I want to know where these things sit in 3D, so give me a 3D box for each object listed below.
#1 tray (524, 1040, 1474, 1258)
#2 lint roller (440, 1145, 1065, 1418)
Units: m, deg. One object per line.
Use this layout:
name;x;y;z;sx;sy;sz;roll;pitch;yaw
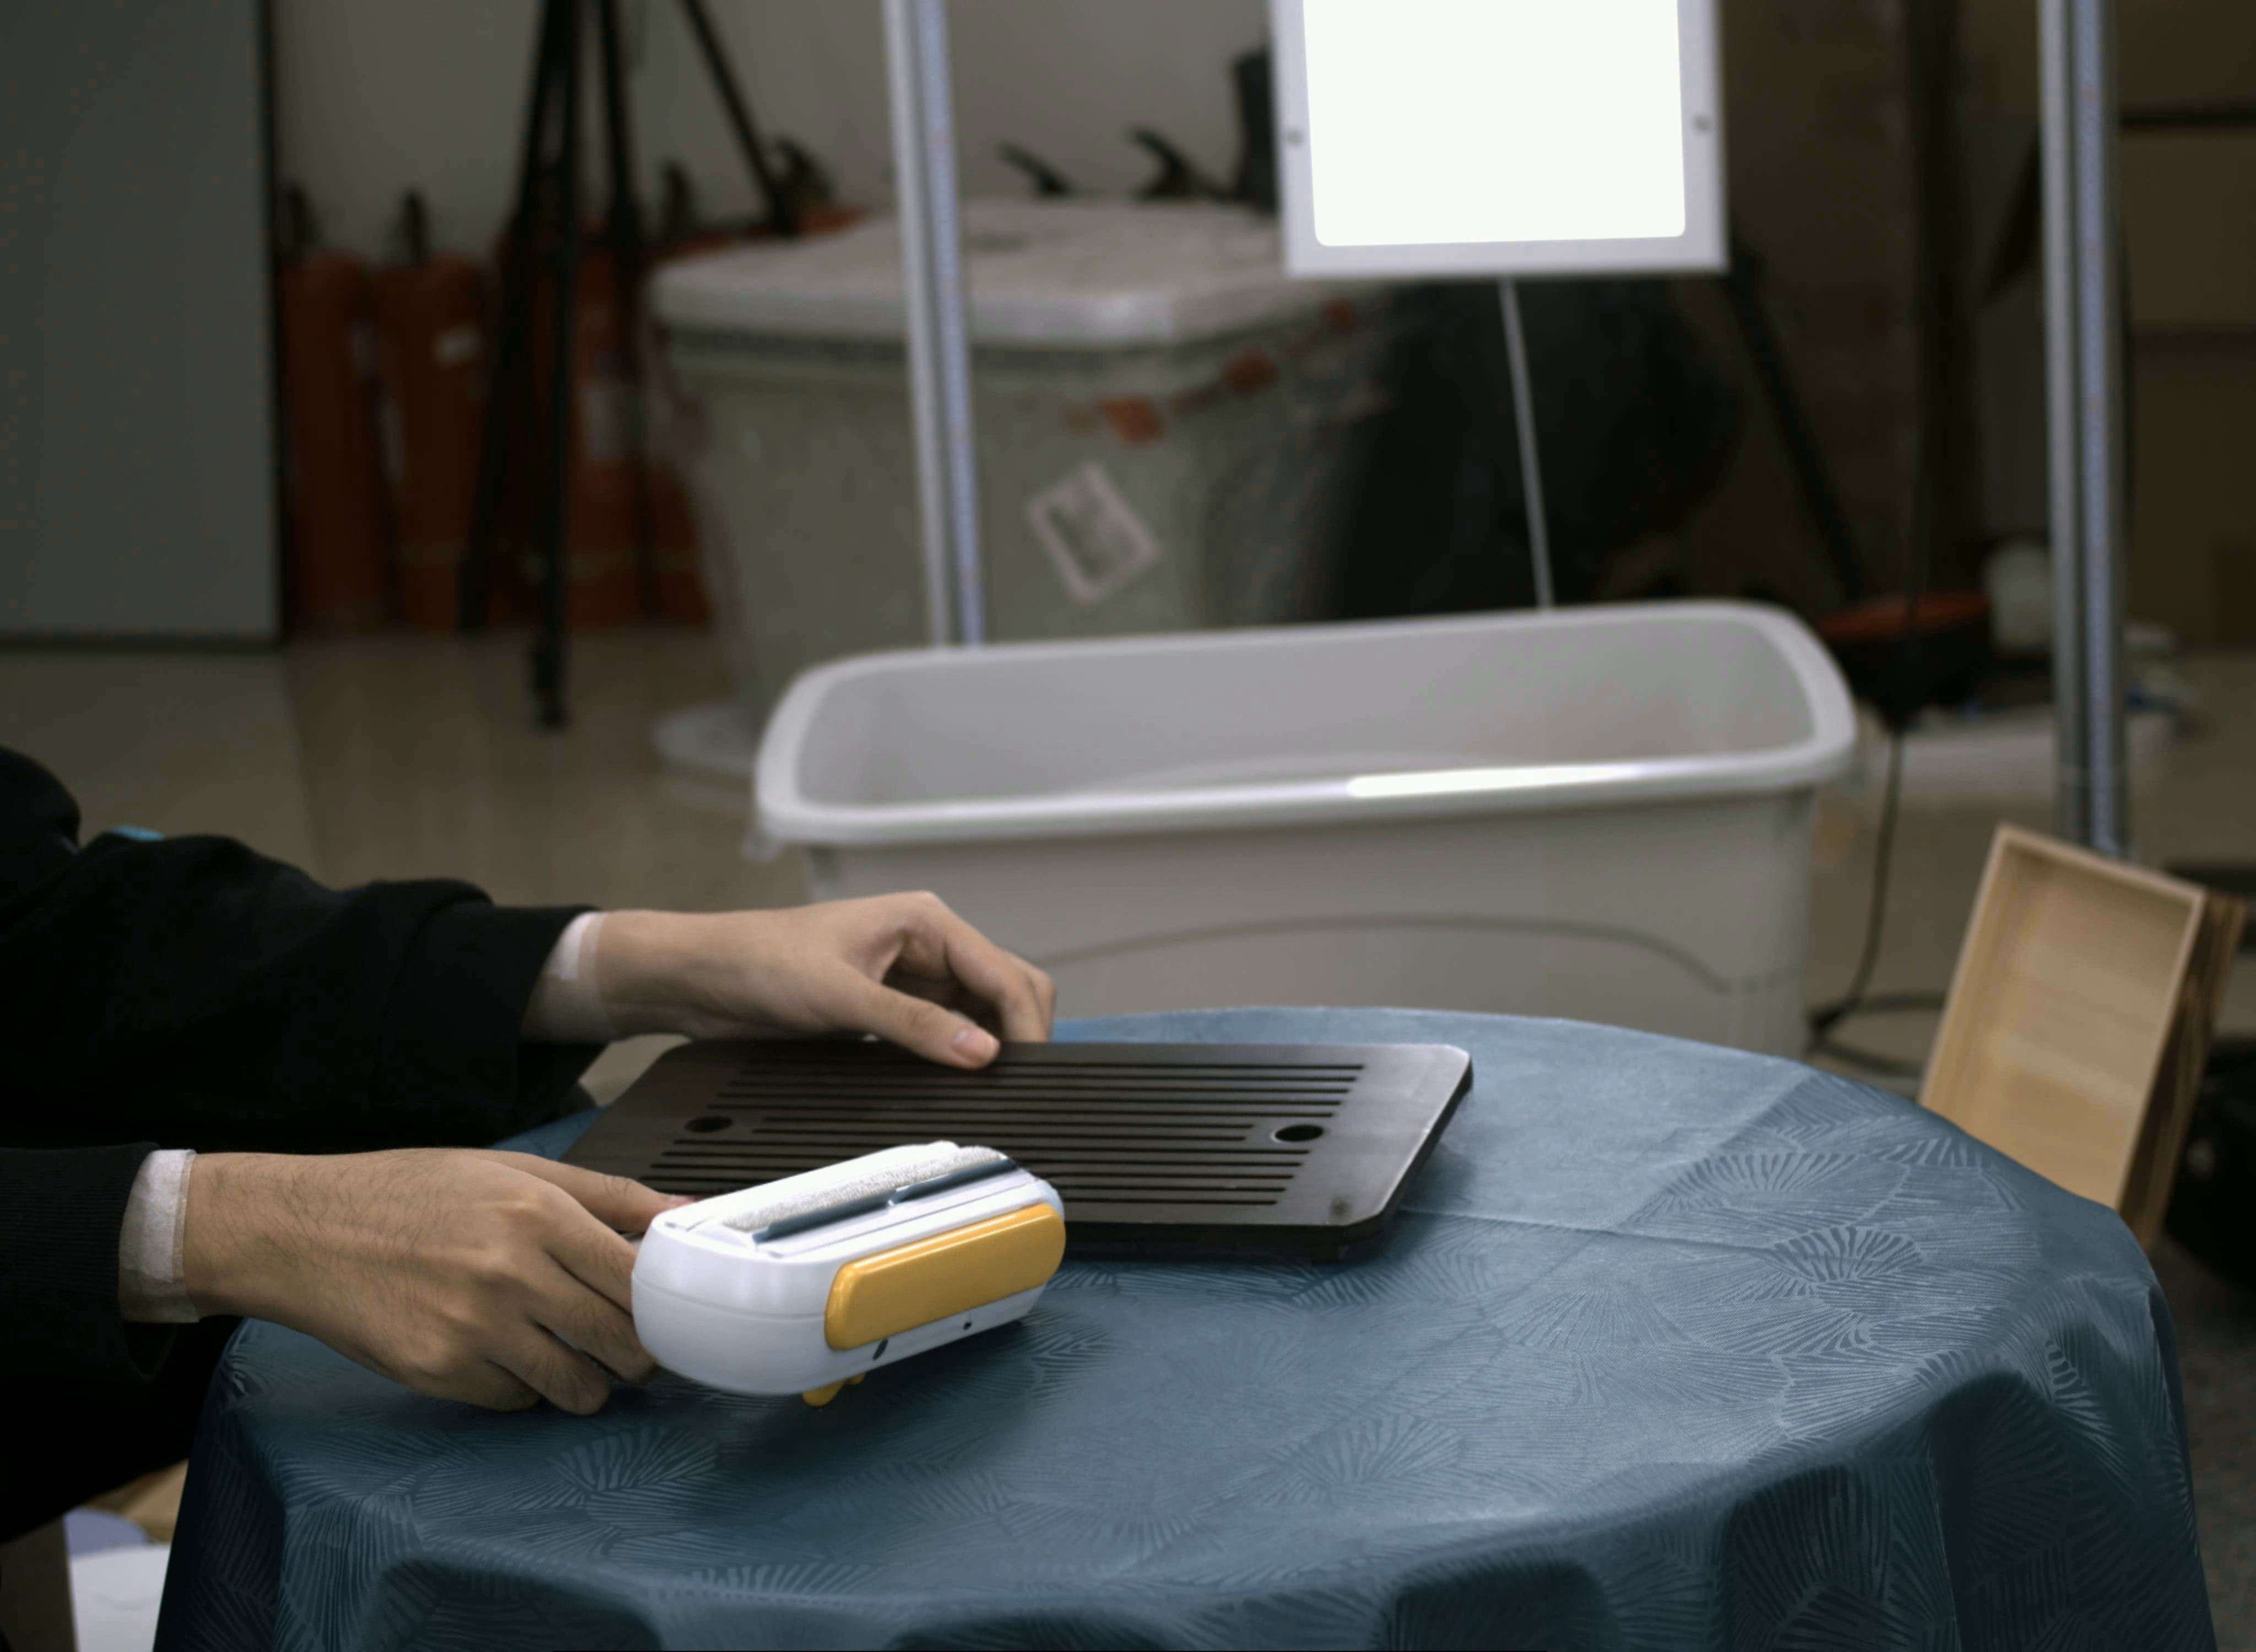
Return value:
tray;-0.042;0.111;1.917;0.309;0.019;0.167;-1;18;18
lint roller;-0.138;0.141;1.740;0.196;0.074;0.188;4;13;33
